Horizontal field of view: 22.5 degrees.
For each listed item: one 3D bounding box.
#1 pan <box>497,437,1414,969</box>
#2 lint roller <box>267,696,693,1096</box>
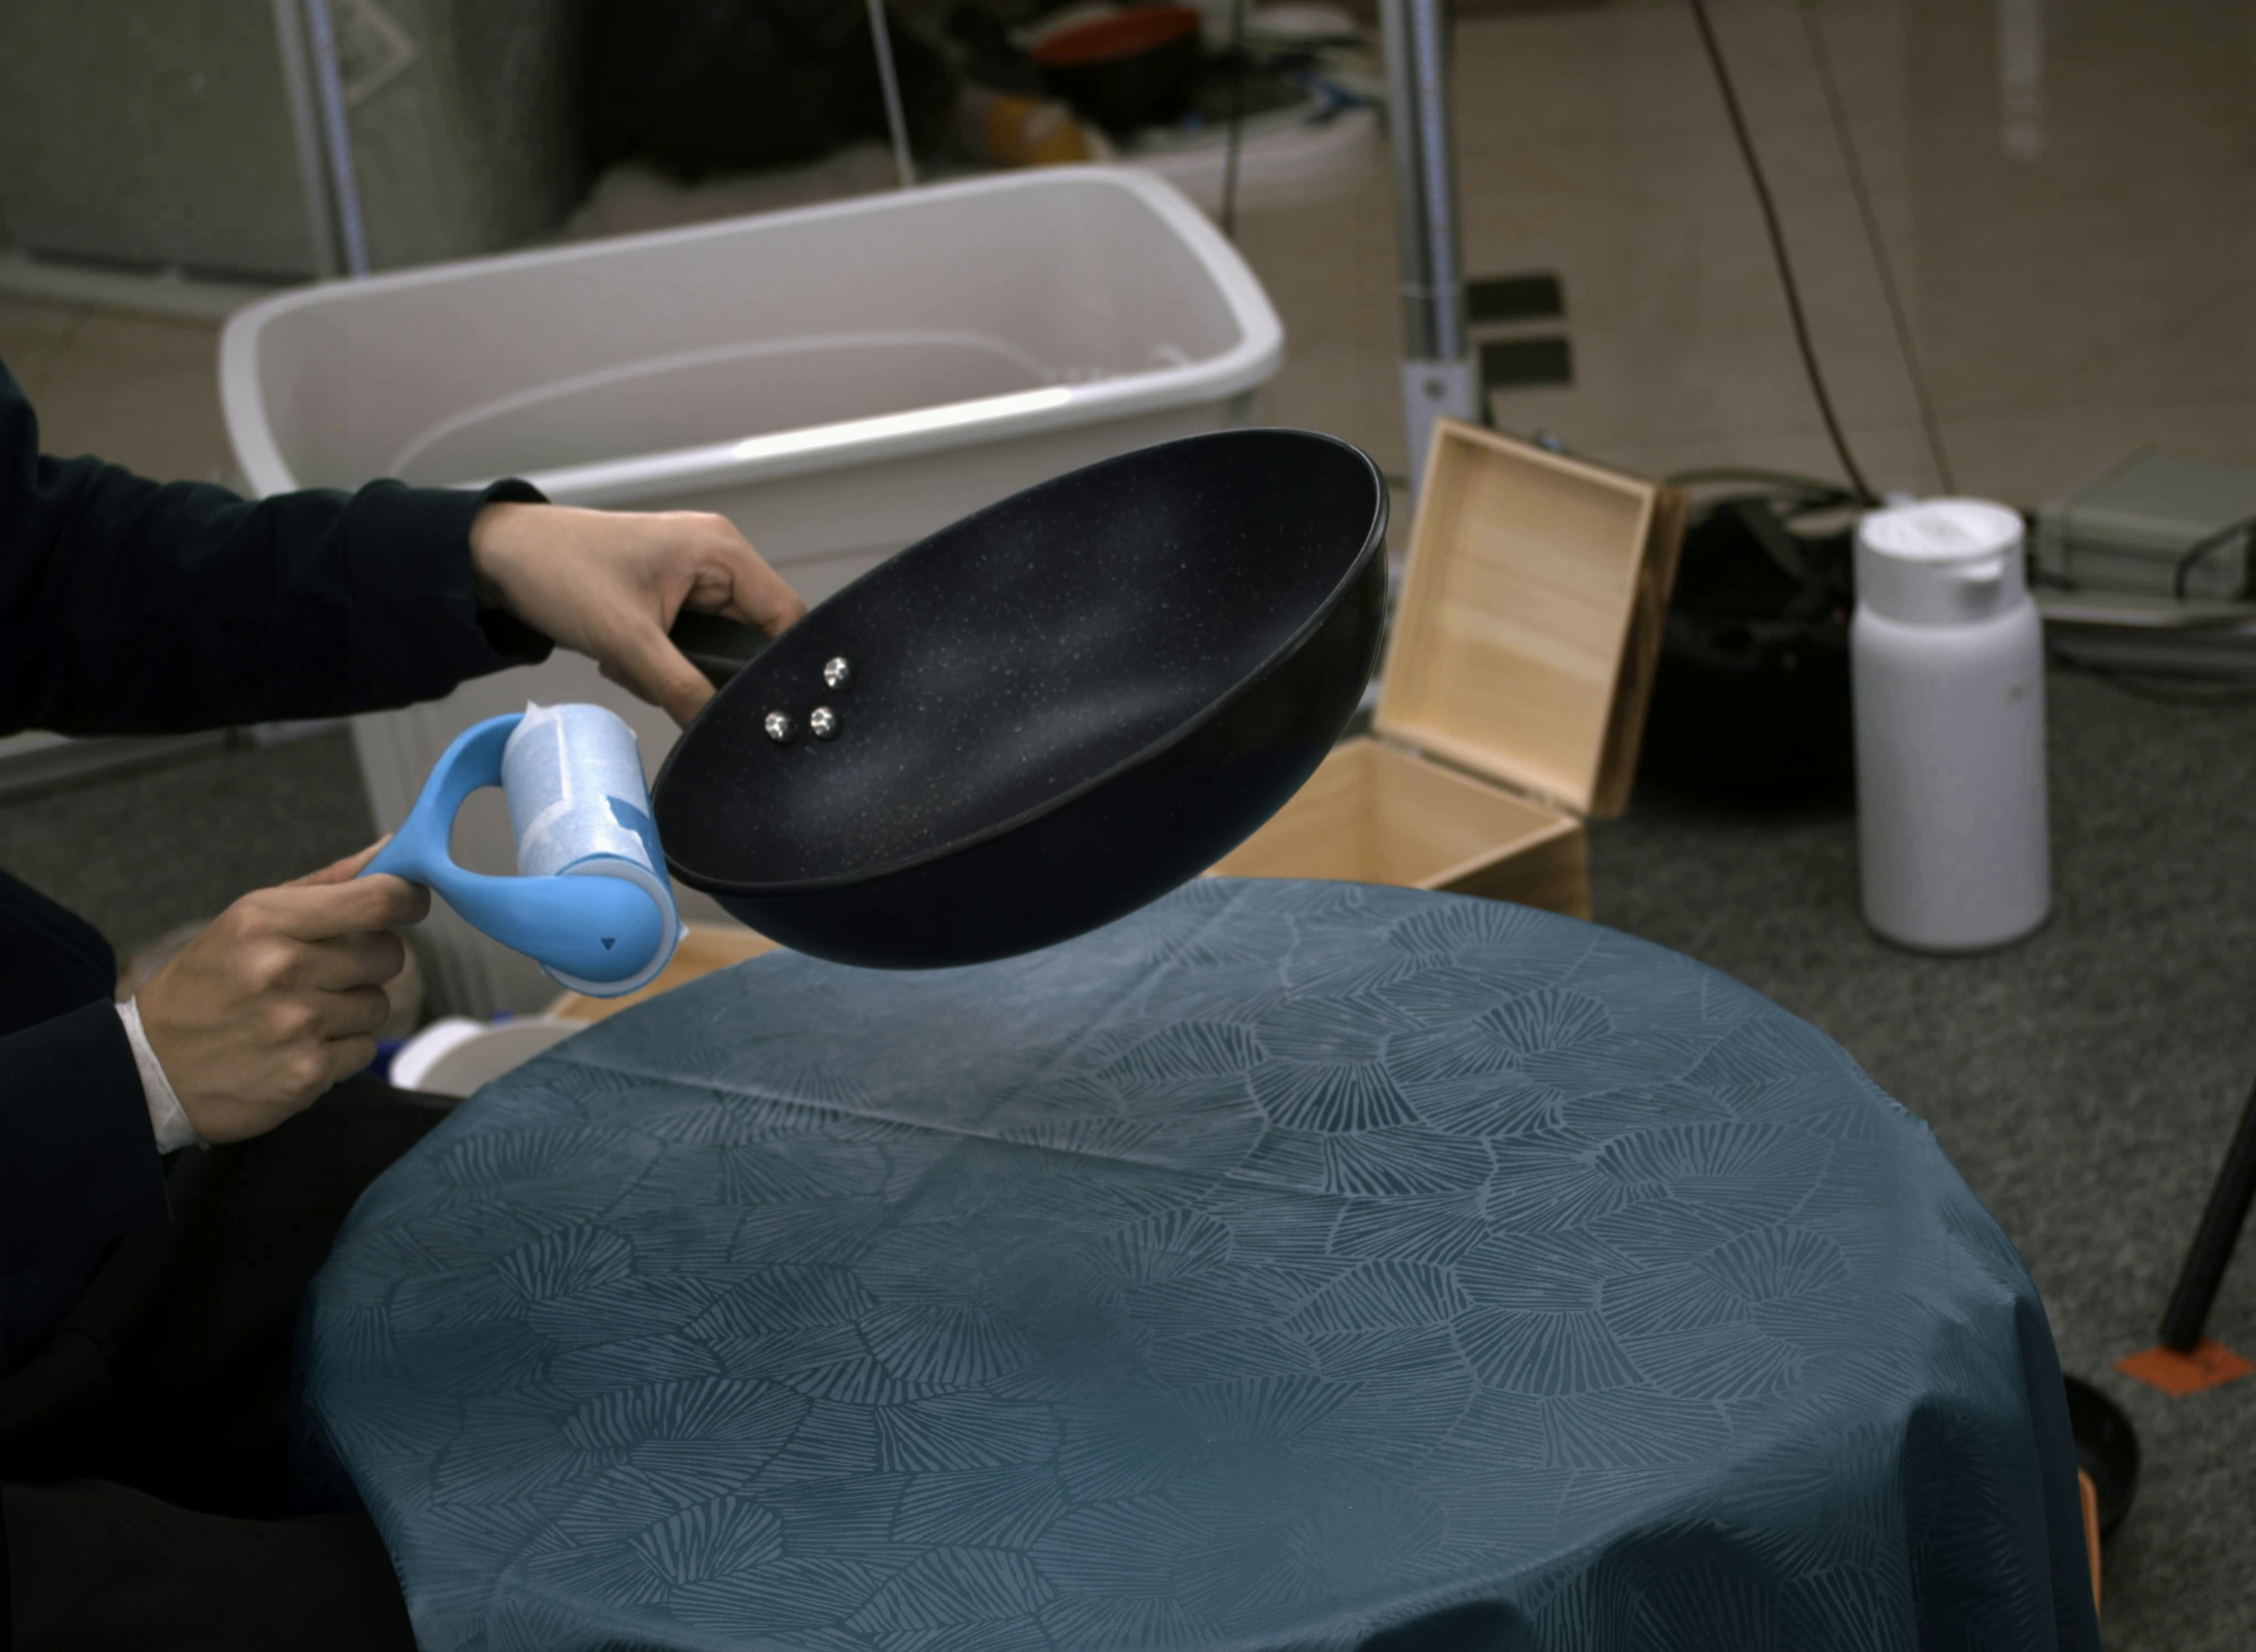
[{"bbox_3d":[-0.080,-0.043,2.190,0.475,0.113,0.307,2,35,49],"label":"pan"},{"bbox_3d":[-0.250,0.031,2.086,0.180,0.069,0.226,-29,22,-2],"label":"lint roller"}]
